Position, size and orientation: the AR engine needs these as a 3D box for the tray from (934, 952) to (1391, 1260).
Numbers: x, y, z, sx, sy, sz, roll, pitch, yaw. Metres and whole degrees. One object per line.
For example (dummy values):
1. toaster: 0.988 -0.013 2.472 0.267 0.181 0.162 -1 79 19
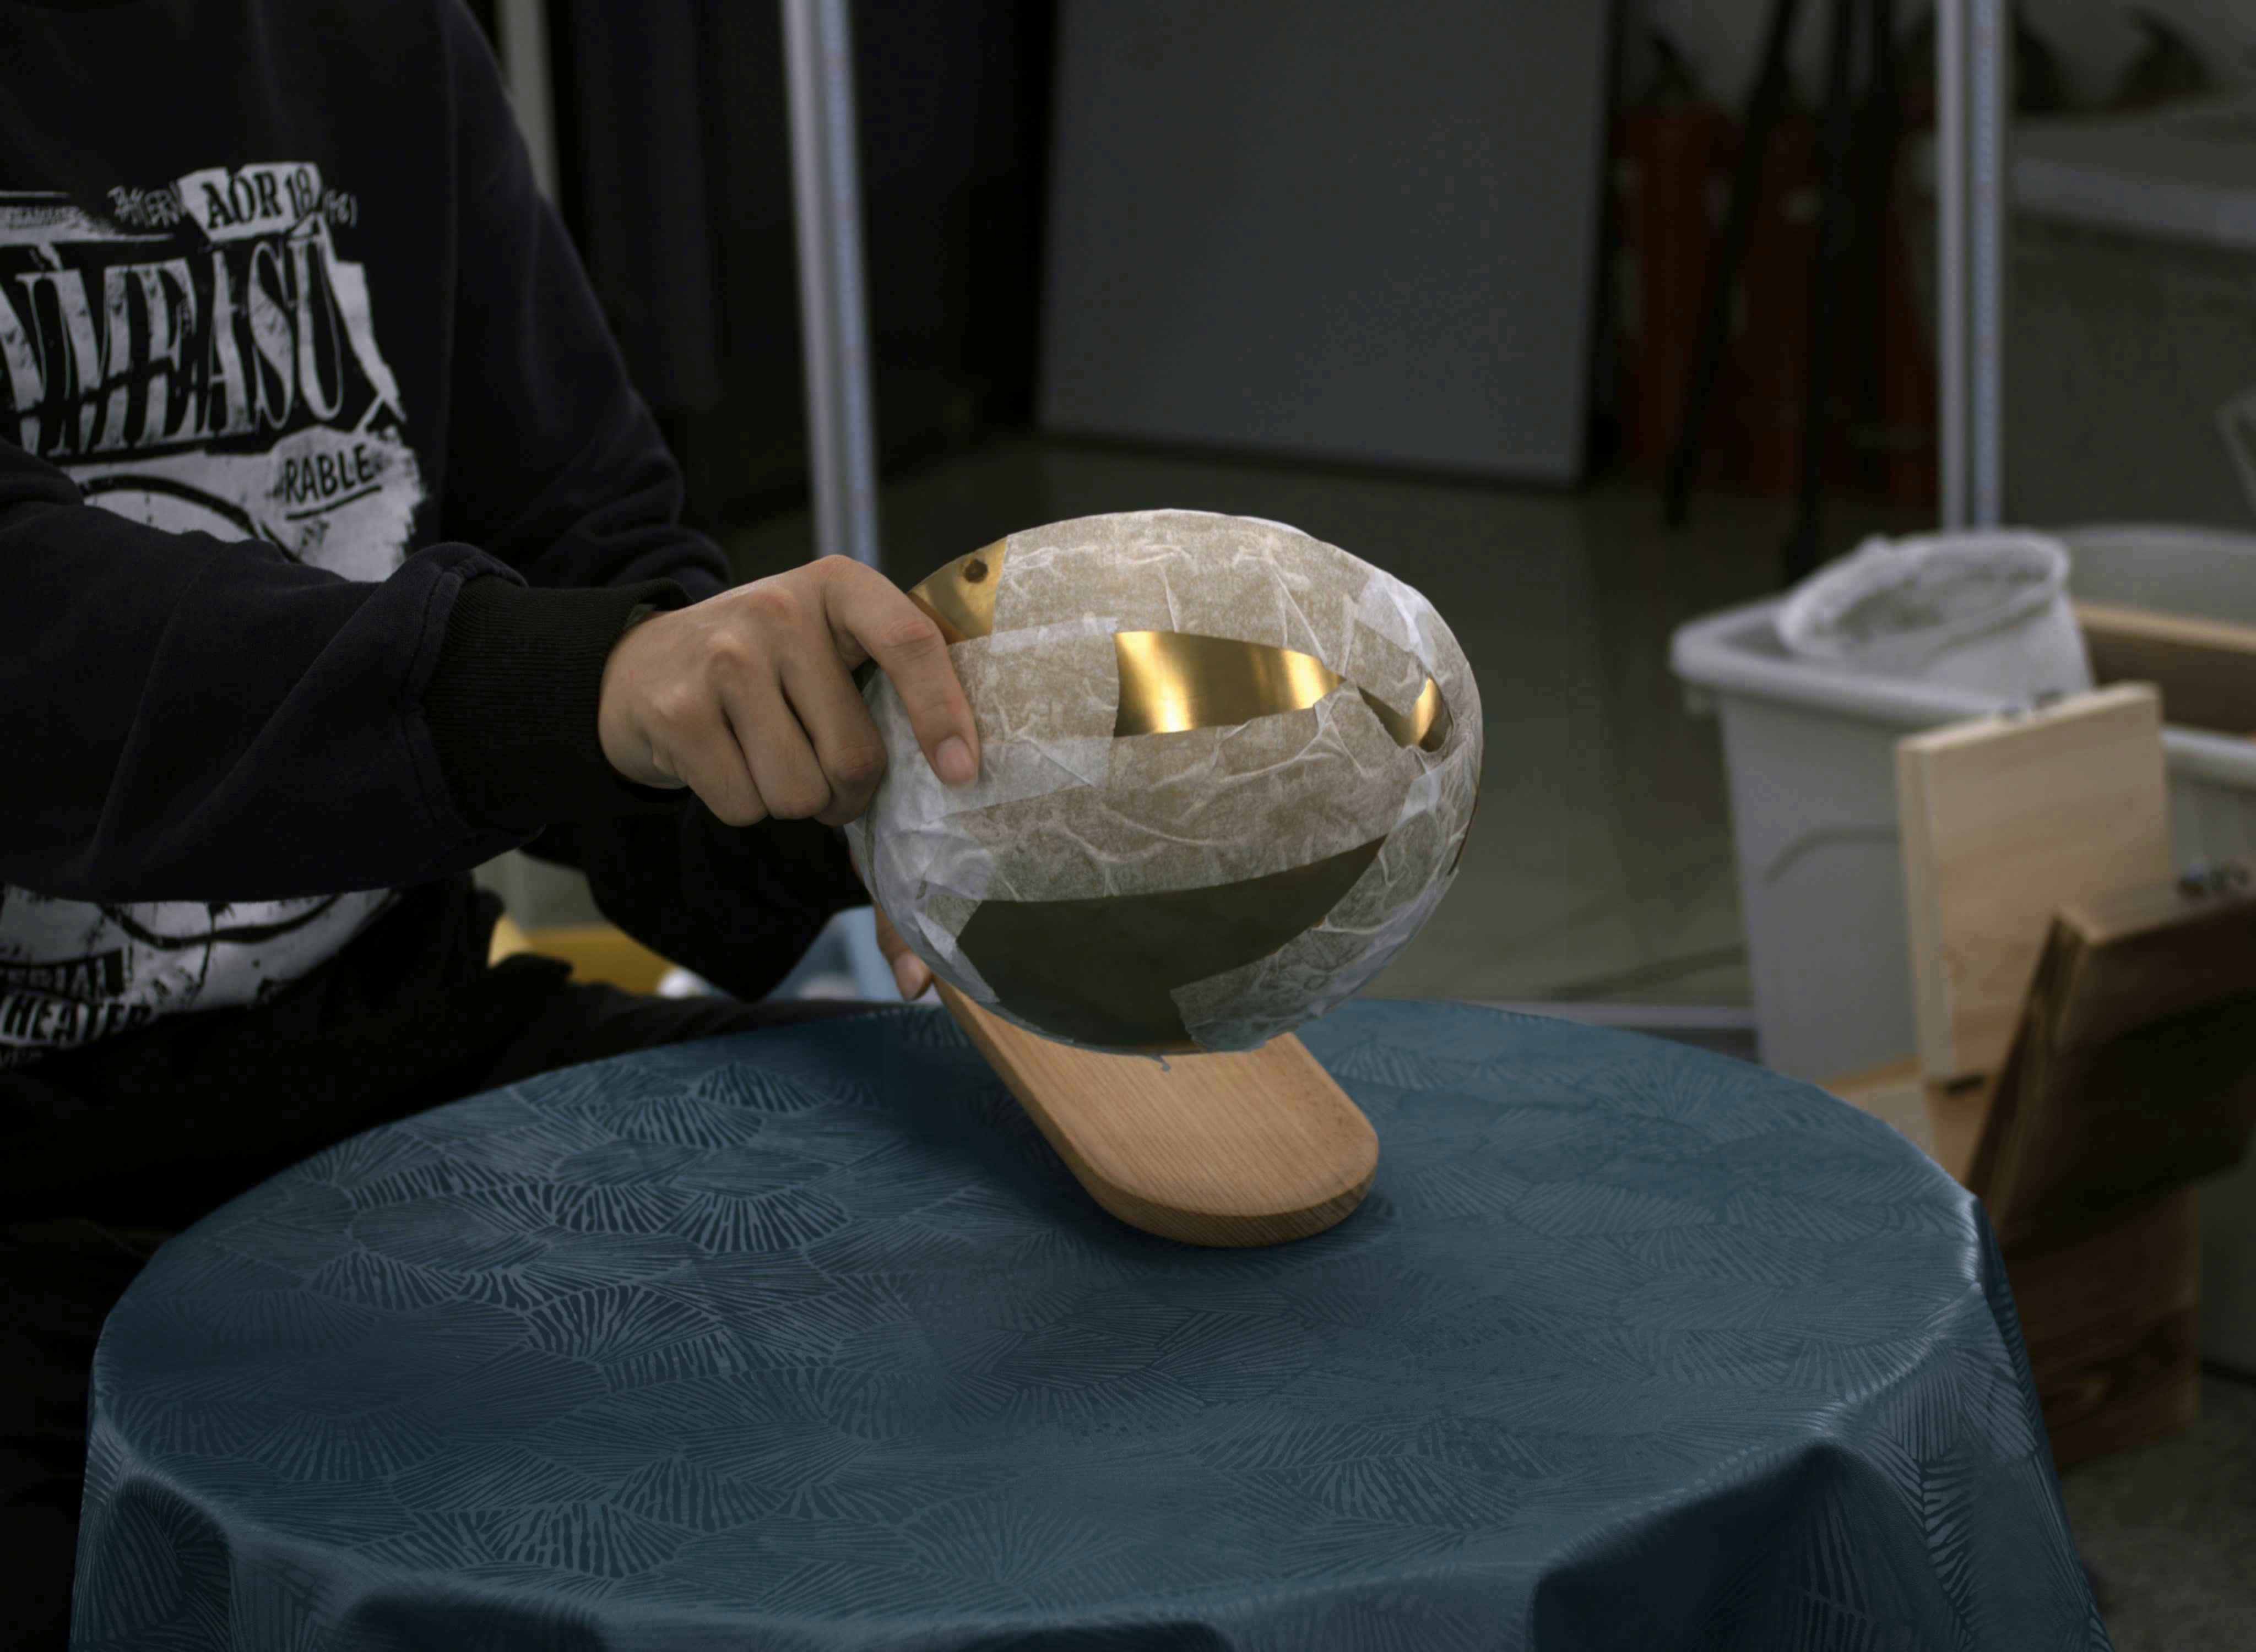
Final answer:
1. tray: 0.009 0.081 1.796 0.099 0.020 0.234 -10 31 -20

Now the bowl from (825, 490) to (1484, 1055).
1. bowl: 0.009 0.006 1.617 0.212 0.215 0.095 -2 48 3
